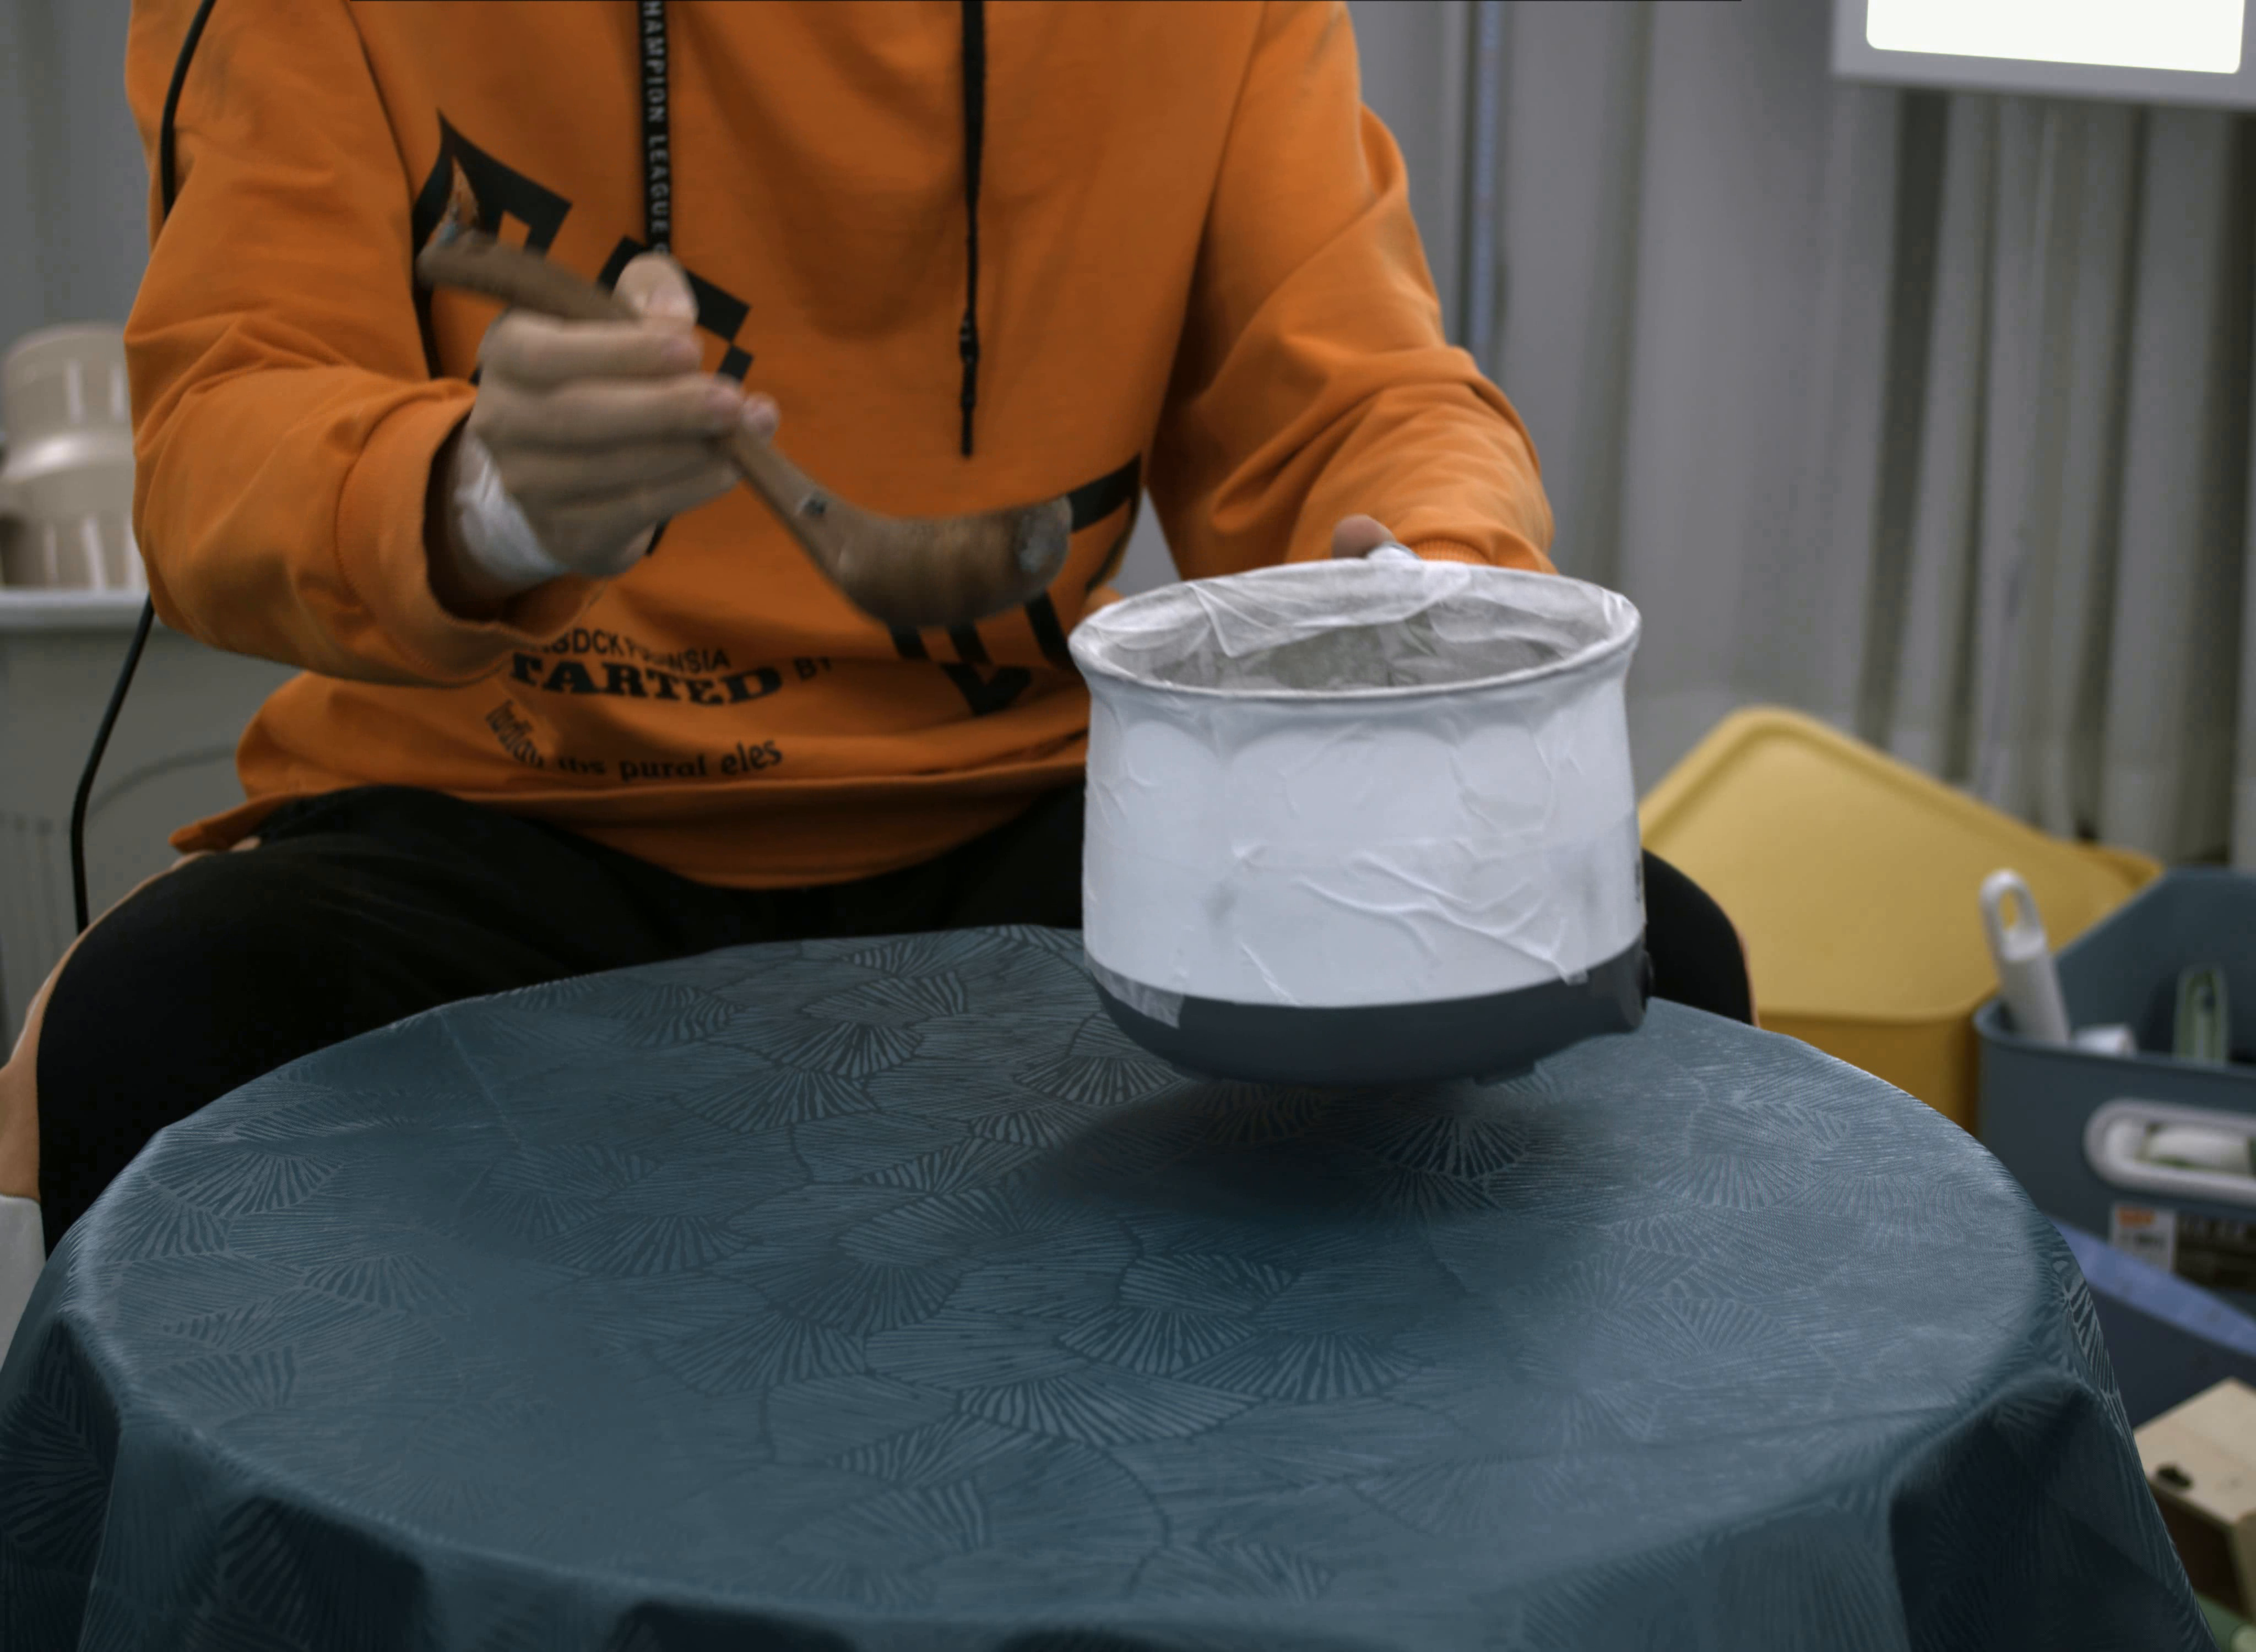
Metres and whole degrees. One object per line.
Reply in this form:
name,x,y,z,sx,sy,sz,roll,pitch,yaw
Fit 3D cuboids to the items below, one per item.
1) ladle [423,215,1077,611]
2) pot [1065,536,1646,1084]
ladle,-0.122,-0.141,1.625,0.257,0.065,0.077,38,32,24
pot,0.075,-0.010,1.667,0.178,0.138,0.233,0,16,8
